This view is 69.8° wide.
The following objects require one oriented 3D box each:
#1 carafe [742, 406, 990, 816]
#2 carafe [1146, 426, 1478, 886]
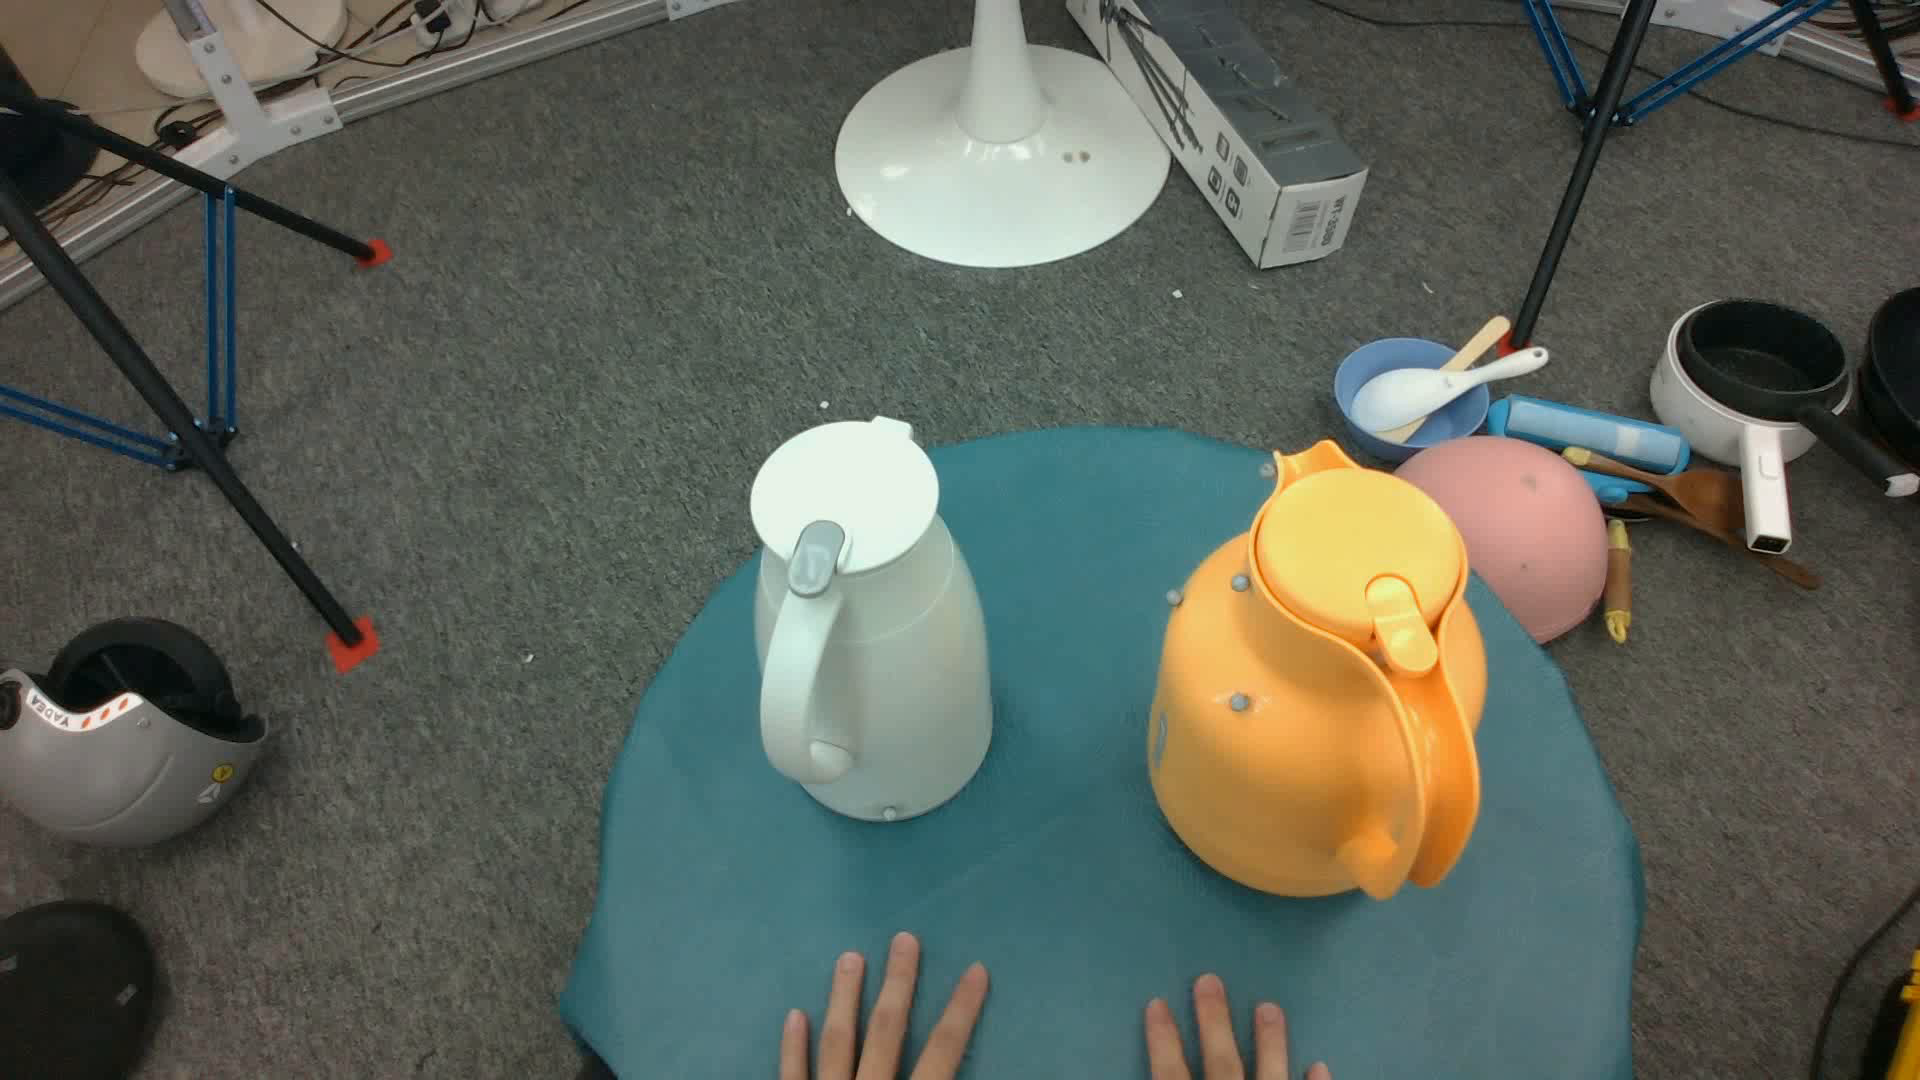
[{"bbox_3d":[-0.059,0.055,0.745,0.132,0.247,0.168,14,57,13],"label":"carafe"},{"bbox_3d":[0.186,0.081,0.710,0.163,0.259,0.203,-12,54,-3],"label":"carafe"}]
